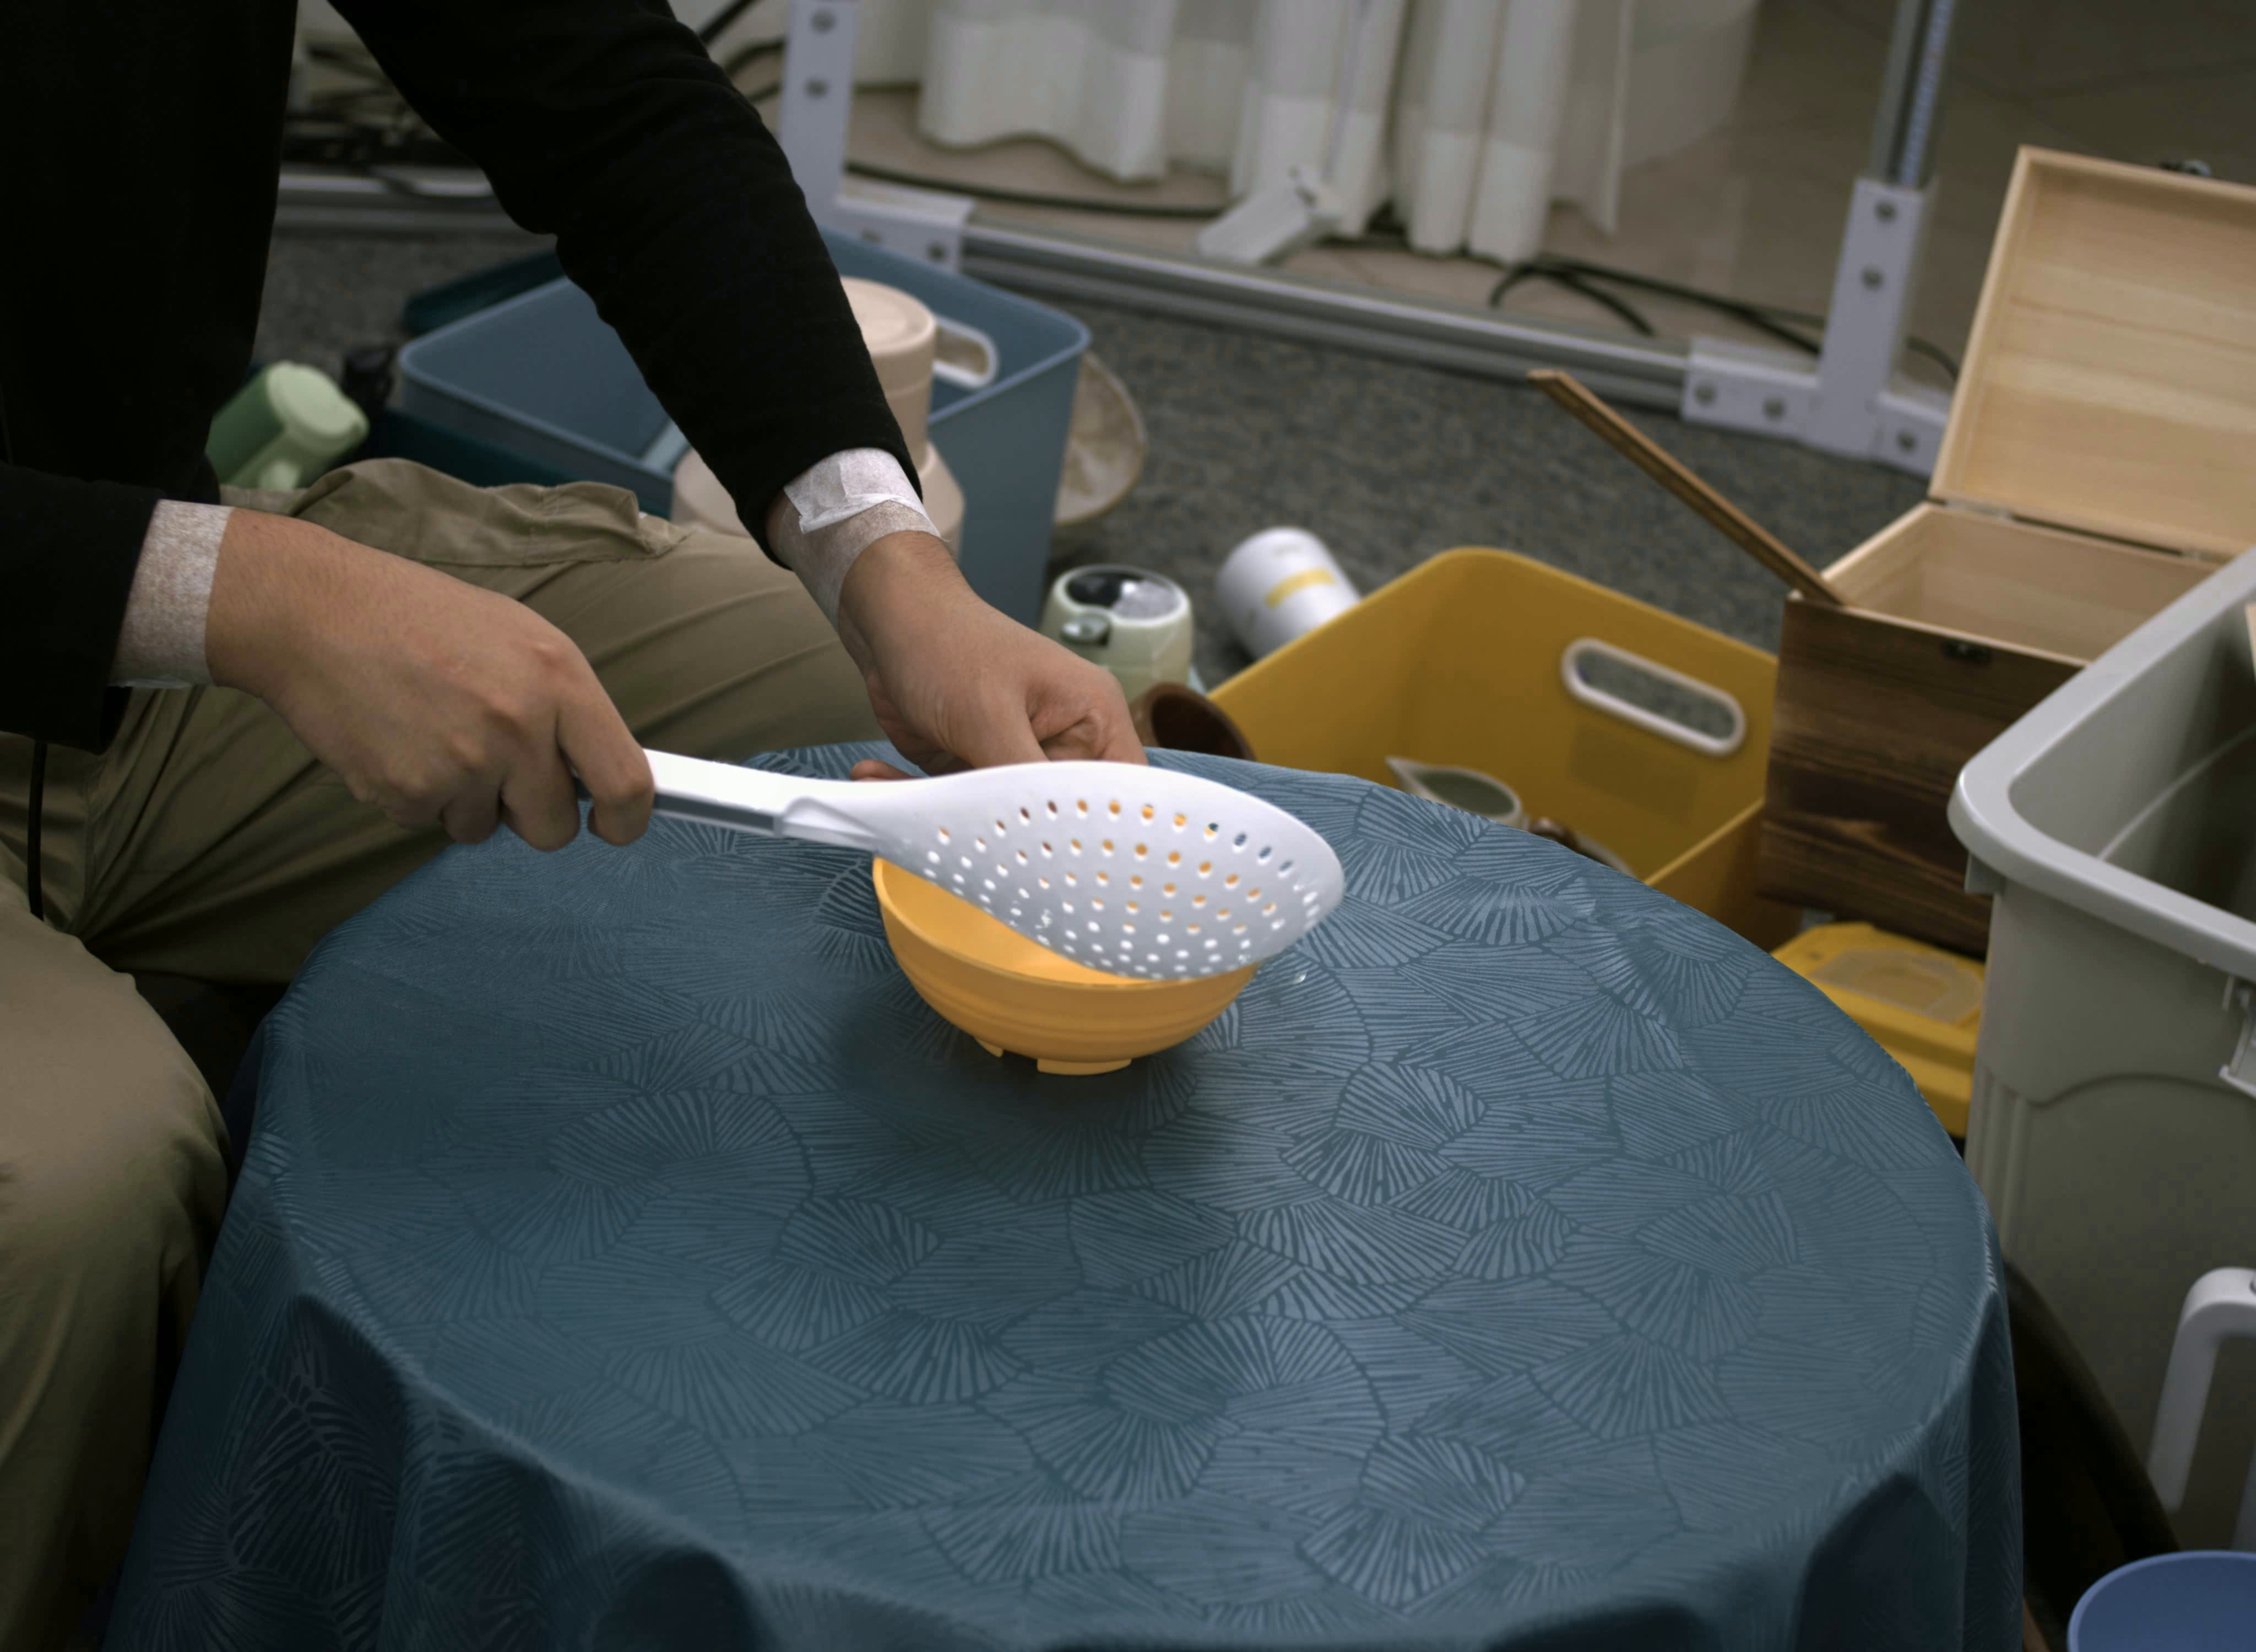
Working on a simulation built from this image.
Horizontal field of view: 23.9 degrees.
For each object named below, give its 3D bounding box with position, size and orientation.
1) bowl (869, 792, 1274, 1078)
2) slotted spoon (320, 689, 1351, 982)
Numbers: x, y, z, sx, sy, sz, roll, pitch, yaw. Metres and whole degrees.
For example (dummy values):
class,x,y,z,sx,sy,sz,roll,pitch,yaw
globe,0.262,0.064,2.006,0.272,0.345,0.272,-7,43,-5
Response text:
class,x,y,z,sx,sy,sz,roll,pitch,yaw
bowl,-0.024,0.047,1.885,0.145,0.060,0.146,7,27,-4
slotted spoon,-0.100,-0.004,1.784,0.349,0.135,0.046,15,65,5
